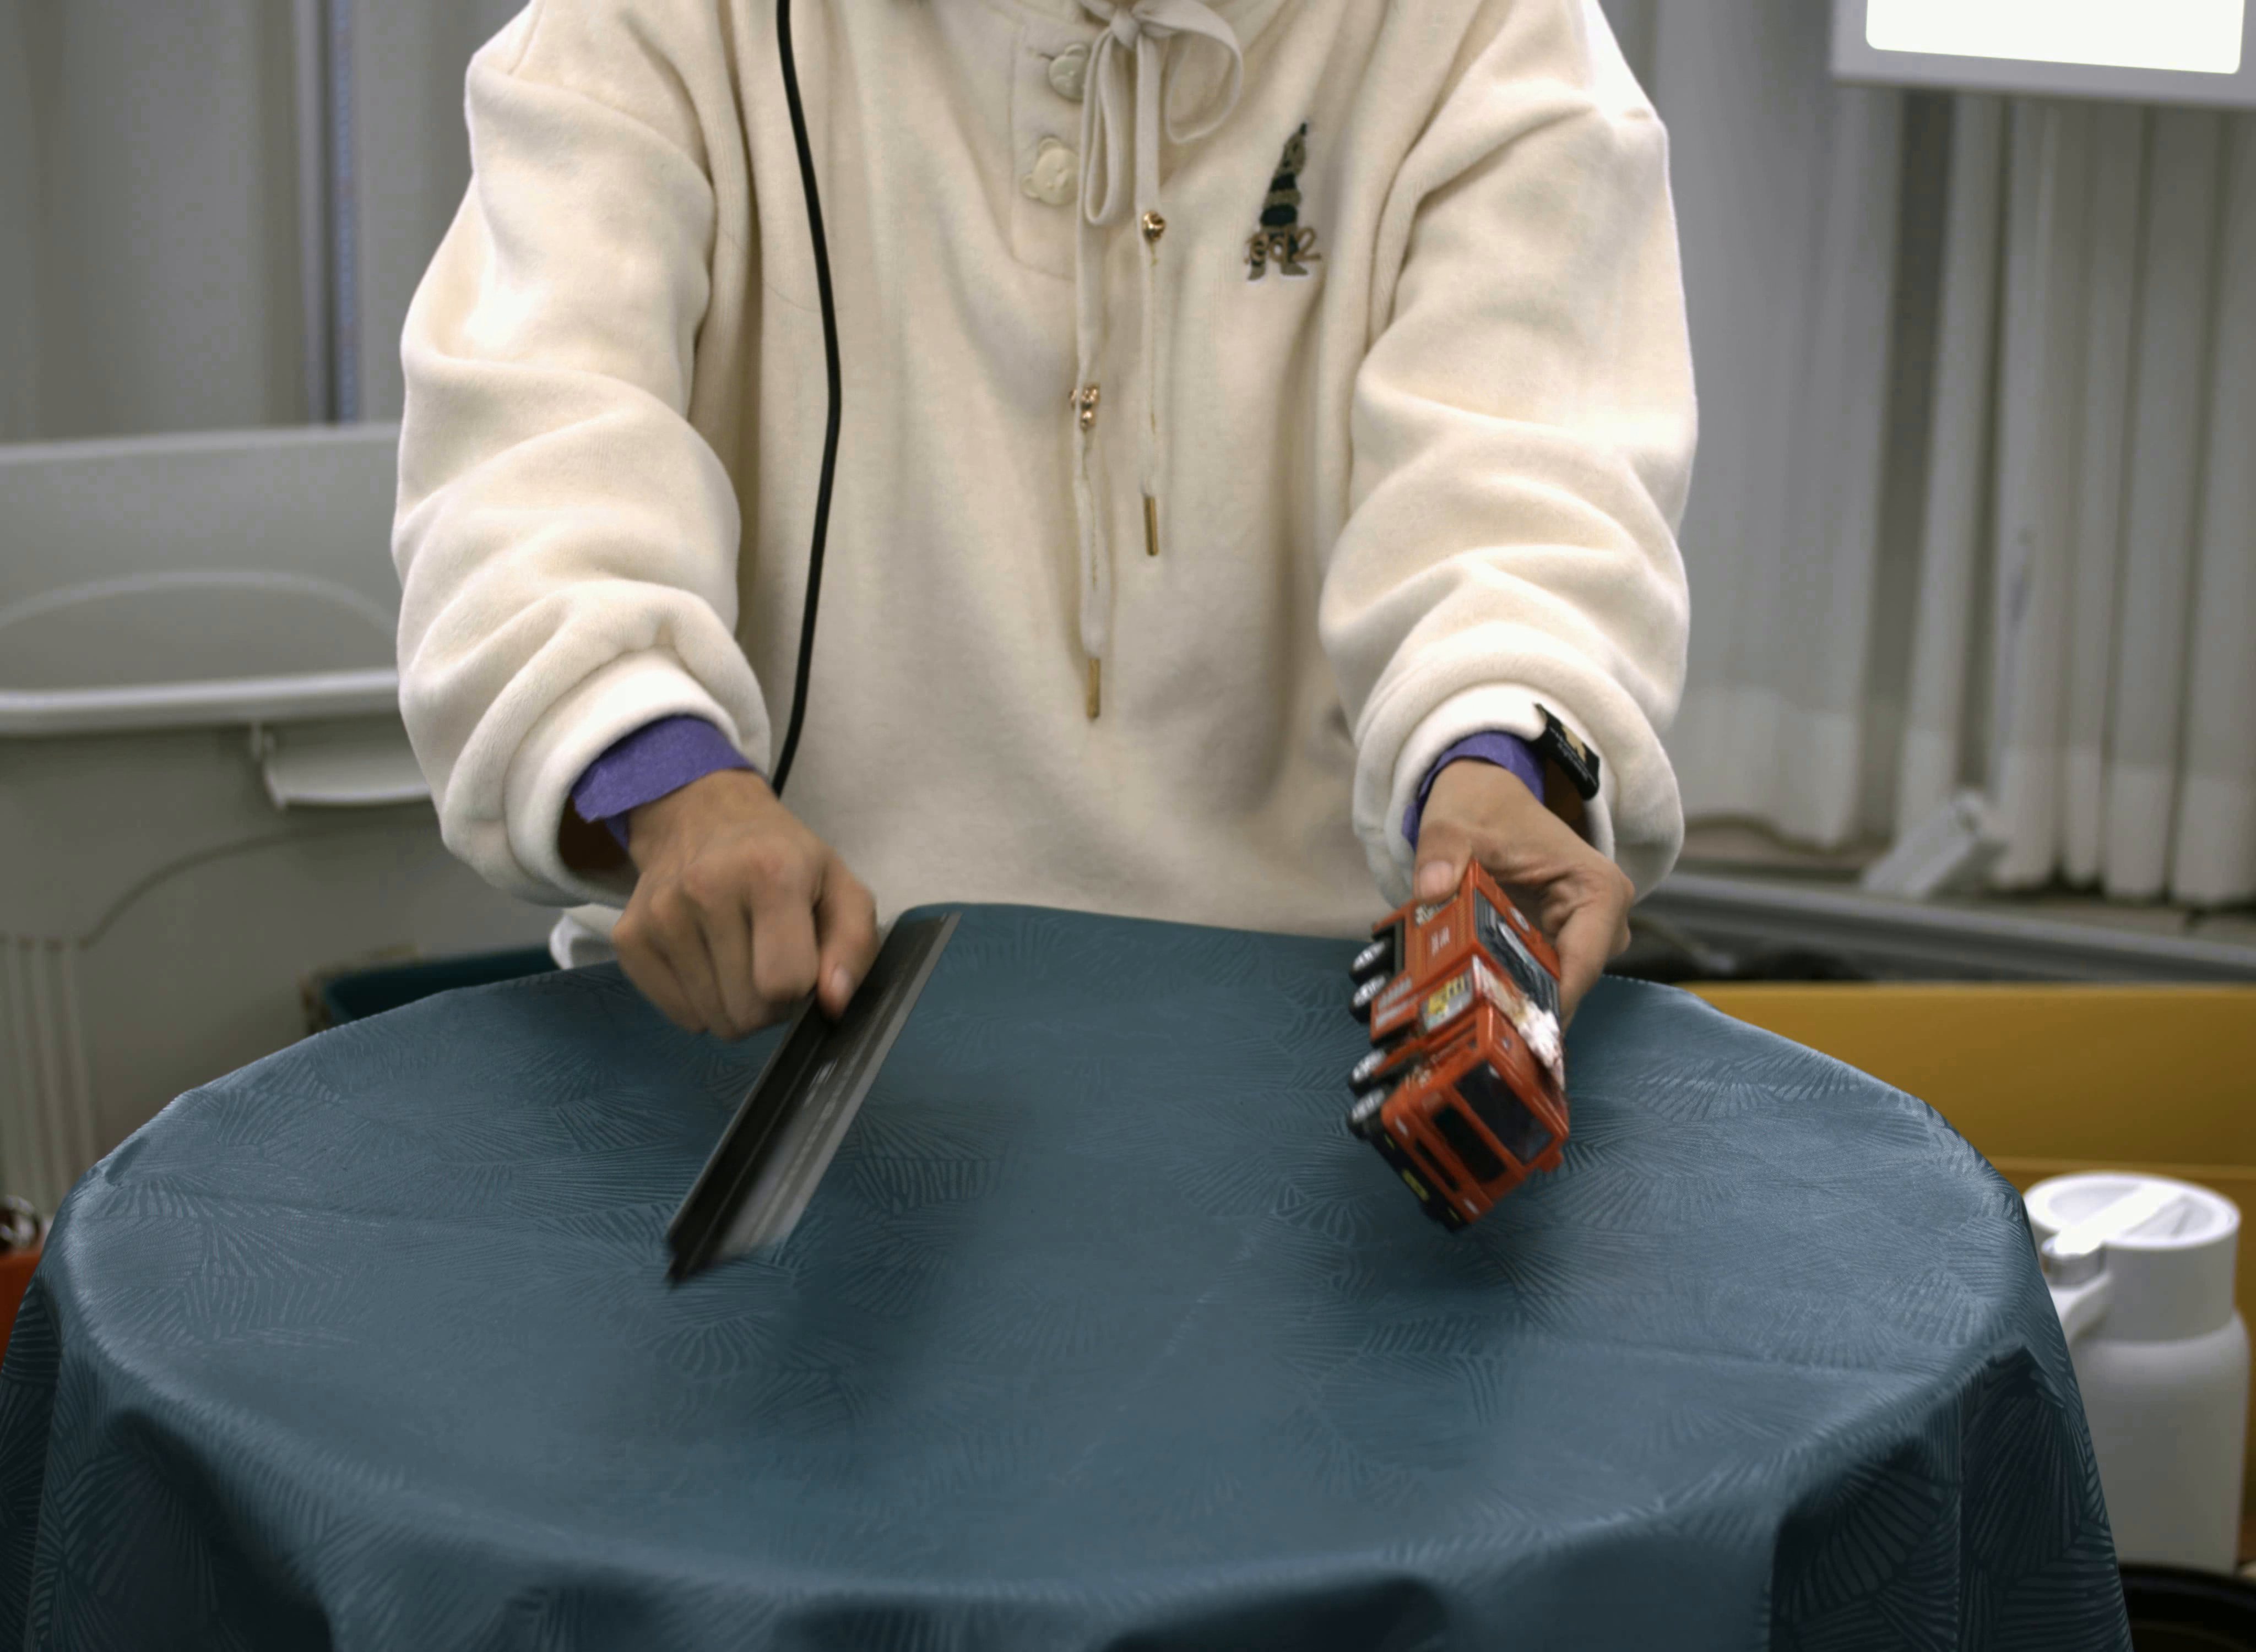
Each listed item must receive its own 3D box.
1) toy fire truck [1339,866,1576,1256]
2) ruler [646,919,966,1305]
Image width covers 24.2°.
[{"bbox_3d":[0.104,0.068,1.593,0.070,0.054,0.167,-41,13,14],"label":"toy fire truck"},{"bbox_3d":[-0.093,0.073,1.552,0.039,0.017,0.311,-22,11,14],"label":"ruler"}]
